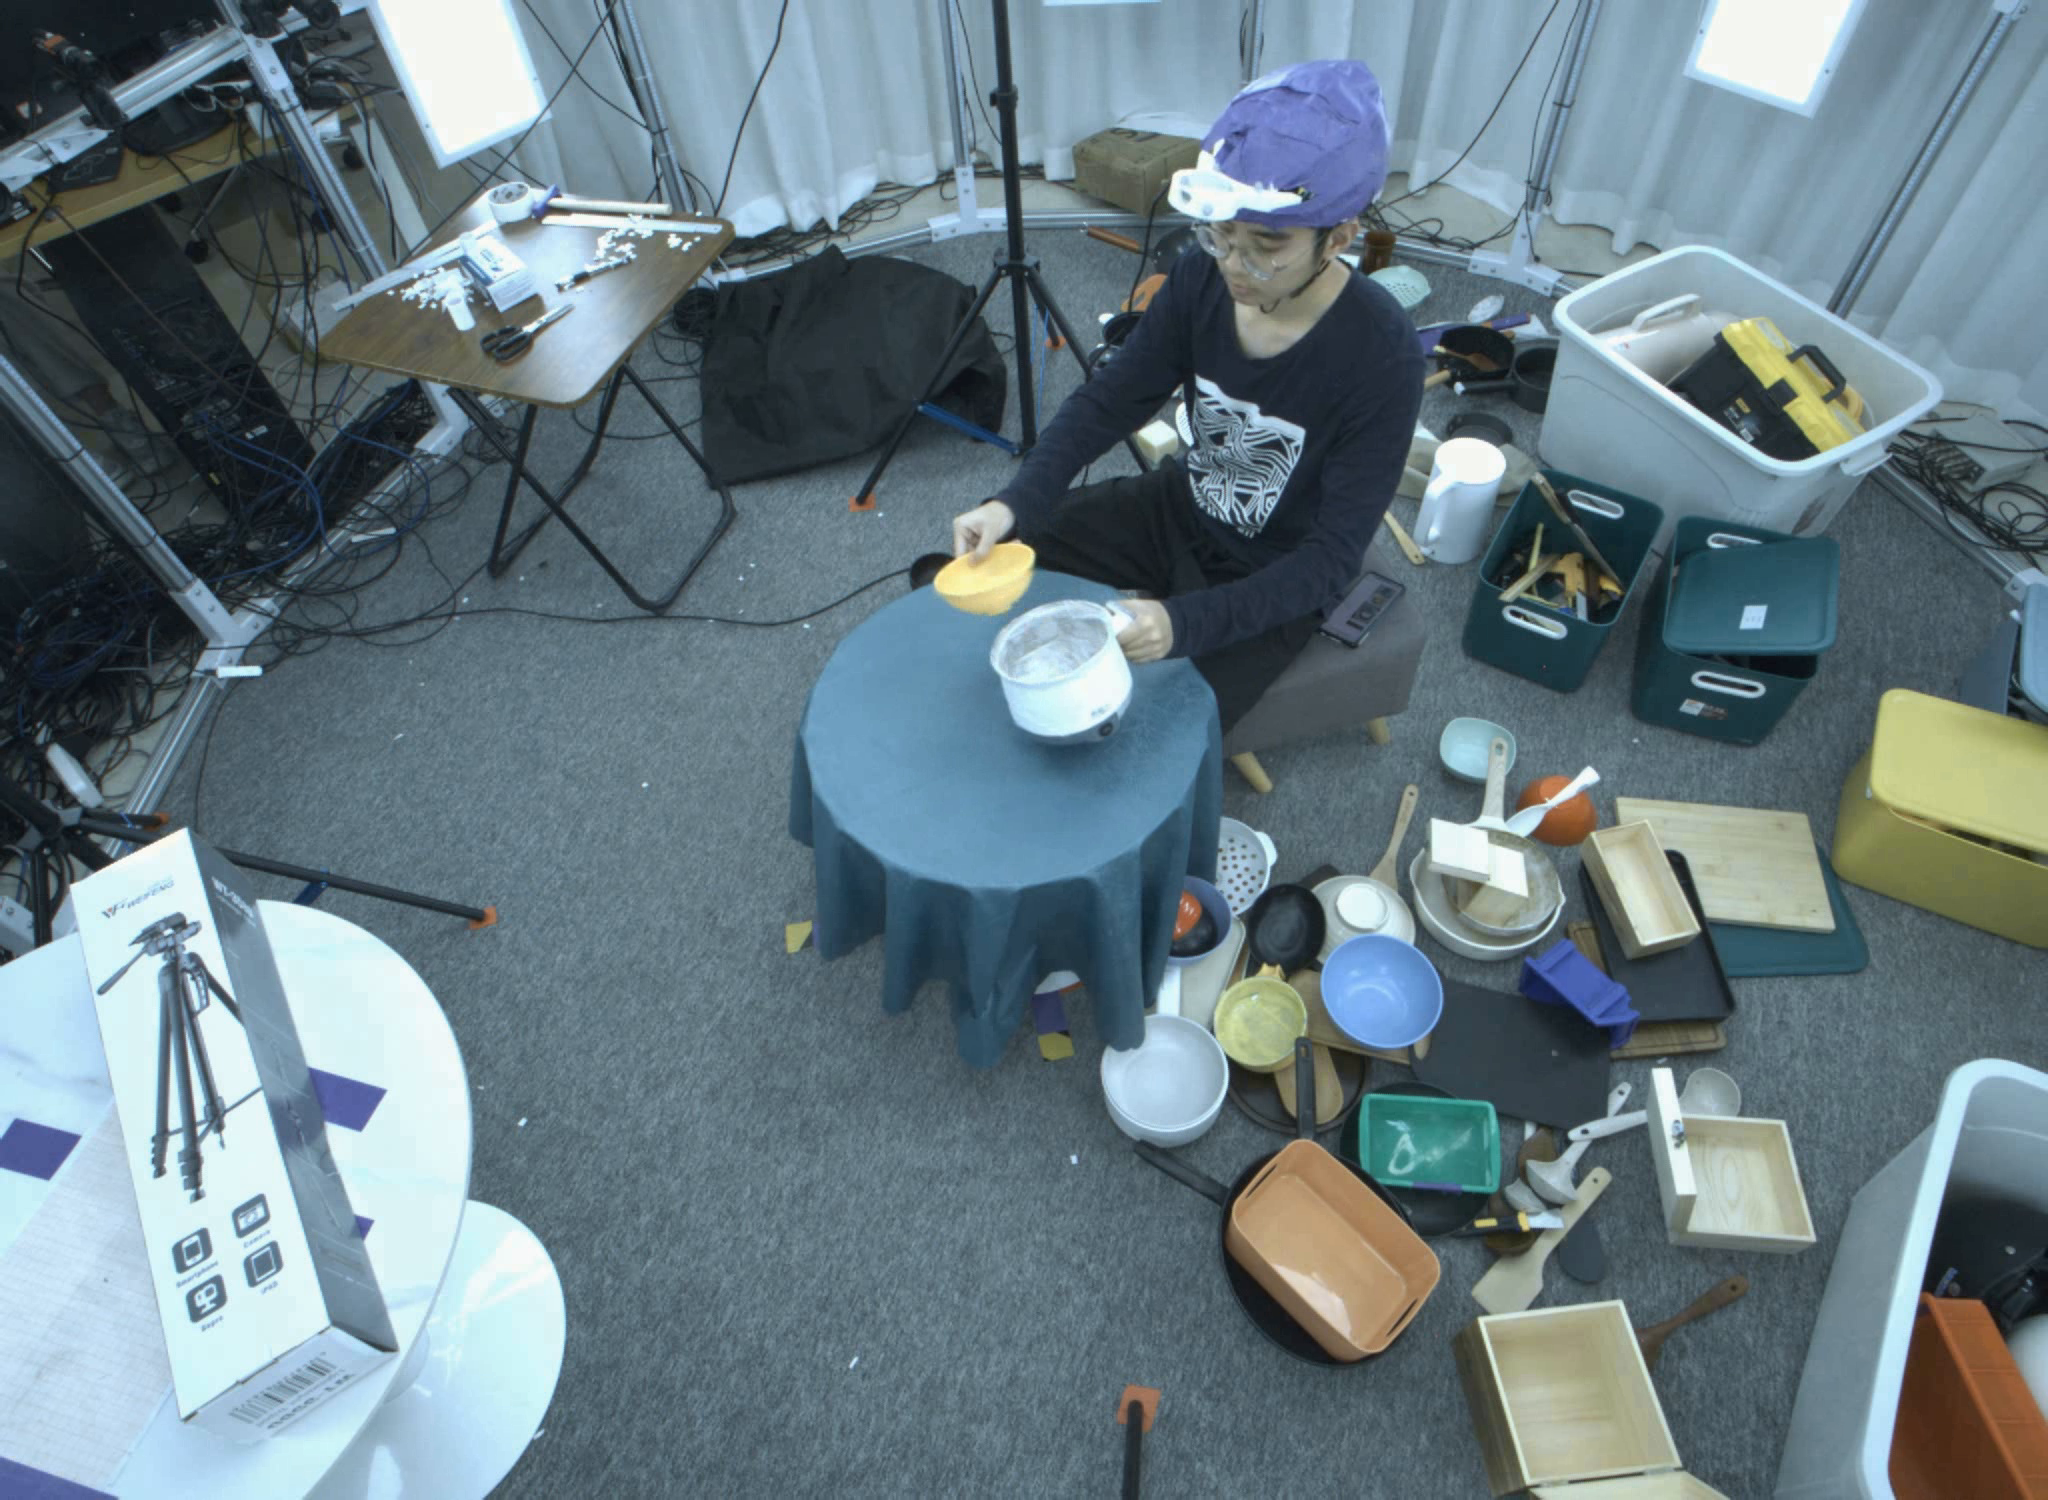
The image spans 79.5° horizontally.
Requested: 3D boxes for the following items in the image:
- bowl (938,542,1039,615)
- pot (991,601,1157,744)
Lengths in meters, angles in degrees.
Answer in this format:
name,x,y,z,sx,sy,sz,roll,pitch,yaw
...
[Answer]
name,x,y,z,sx,sy,sz,roll,pitch,yaw
bowl,-0.044,-0.229,1.709,0.144,0.061,0.144,-11,34,9
pot,0.079,-0.120,1.742,0.235,0.139,0.174,-32,41,-15
